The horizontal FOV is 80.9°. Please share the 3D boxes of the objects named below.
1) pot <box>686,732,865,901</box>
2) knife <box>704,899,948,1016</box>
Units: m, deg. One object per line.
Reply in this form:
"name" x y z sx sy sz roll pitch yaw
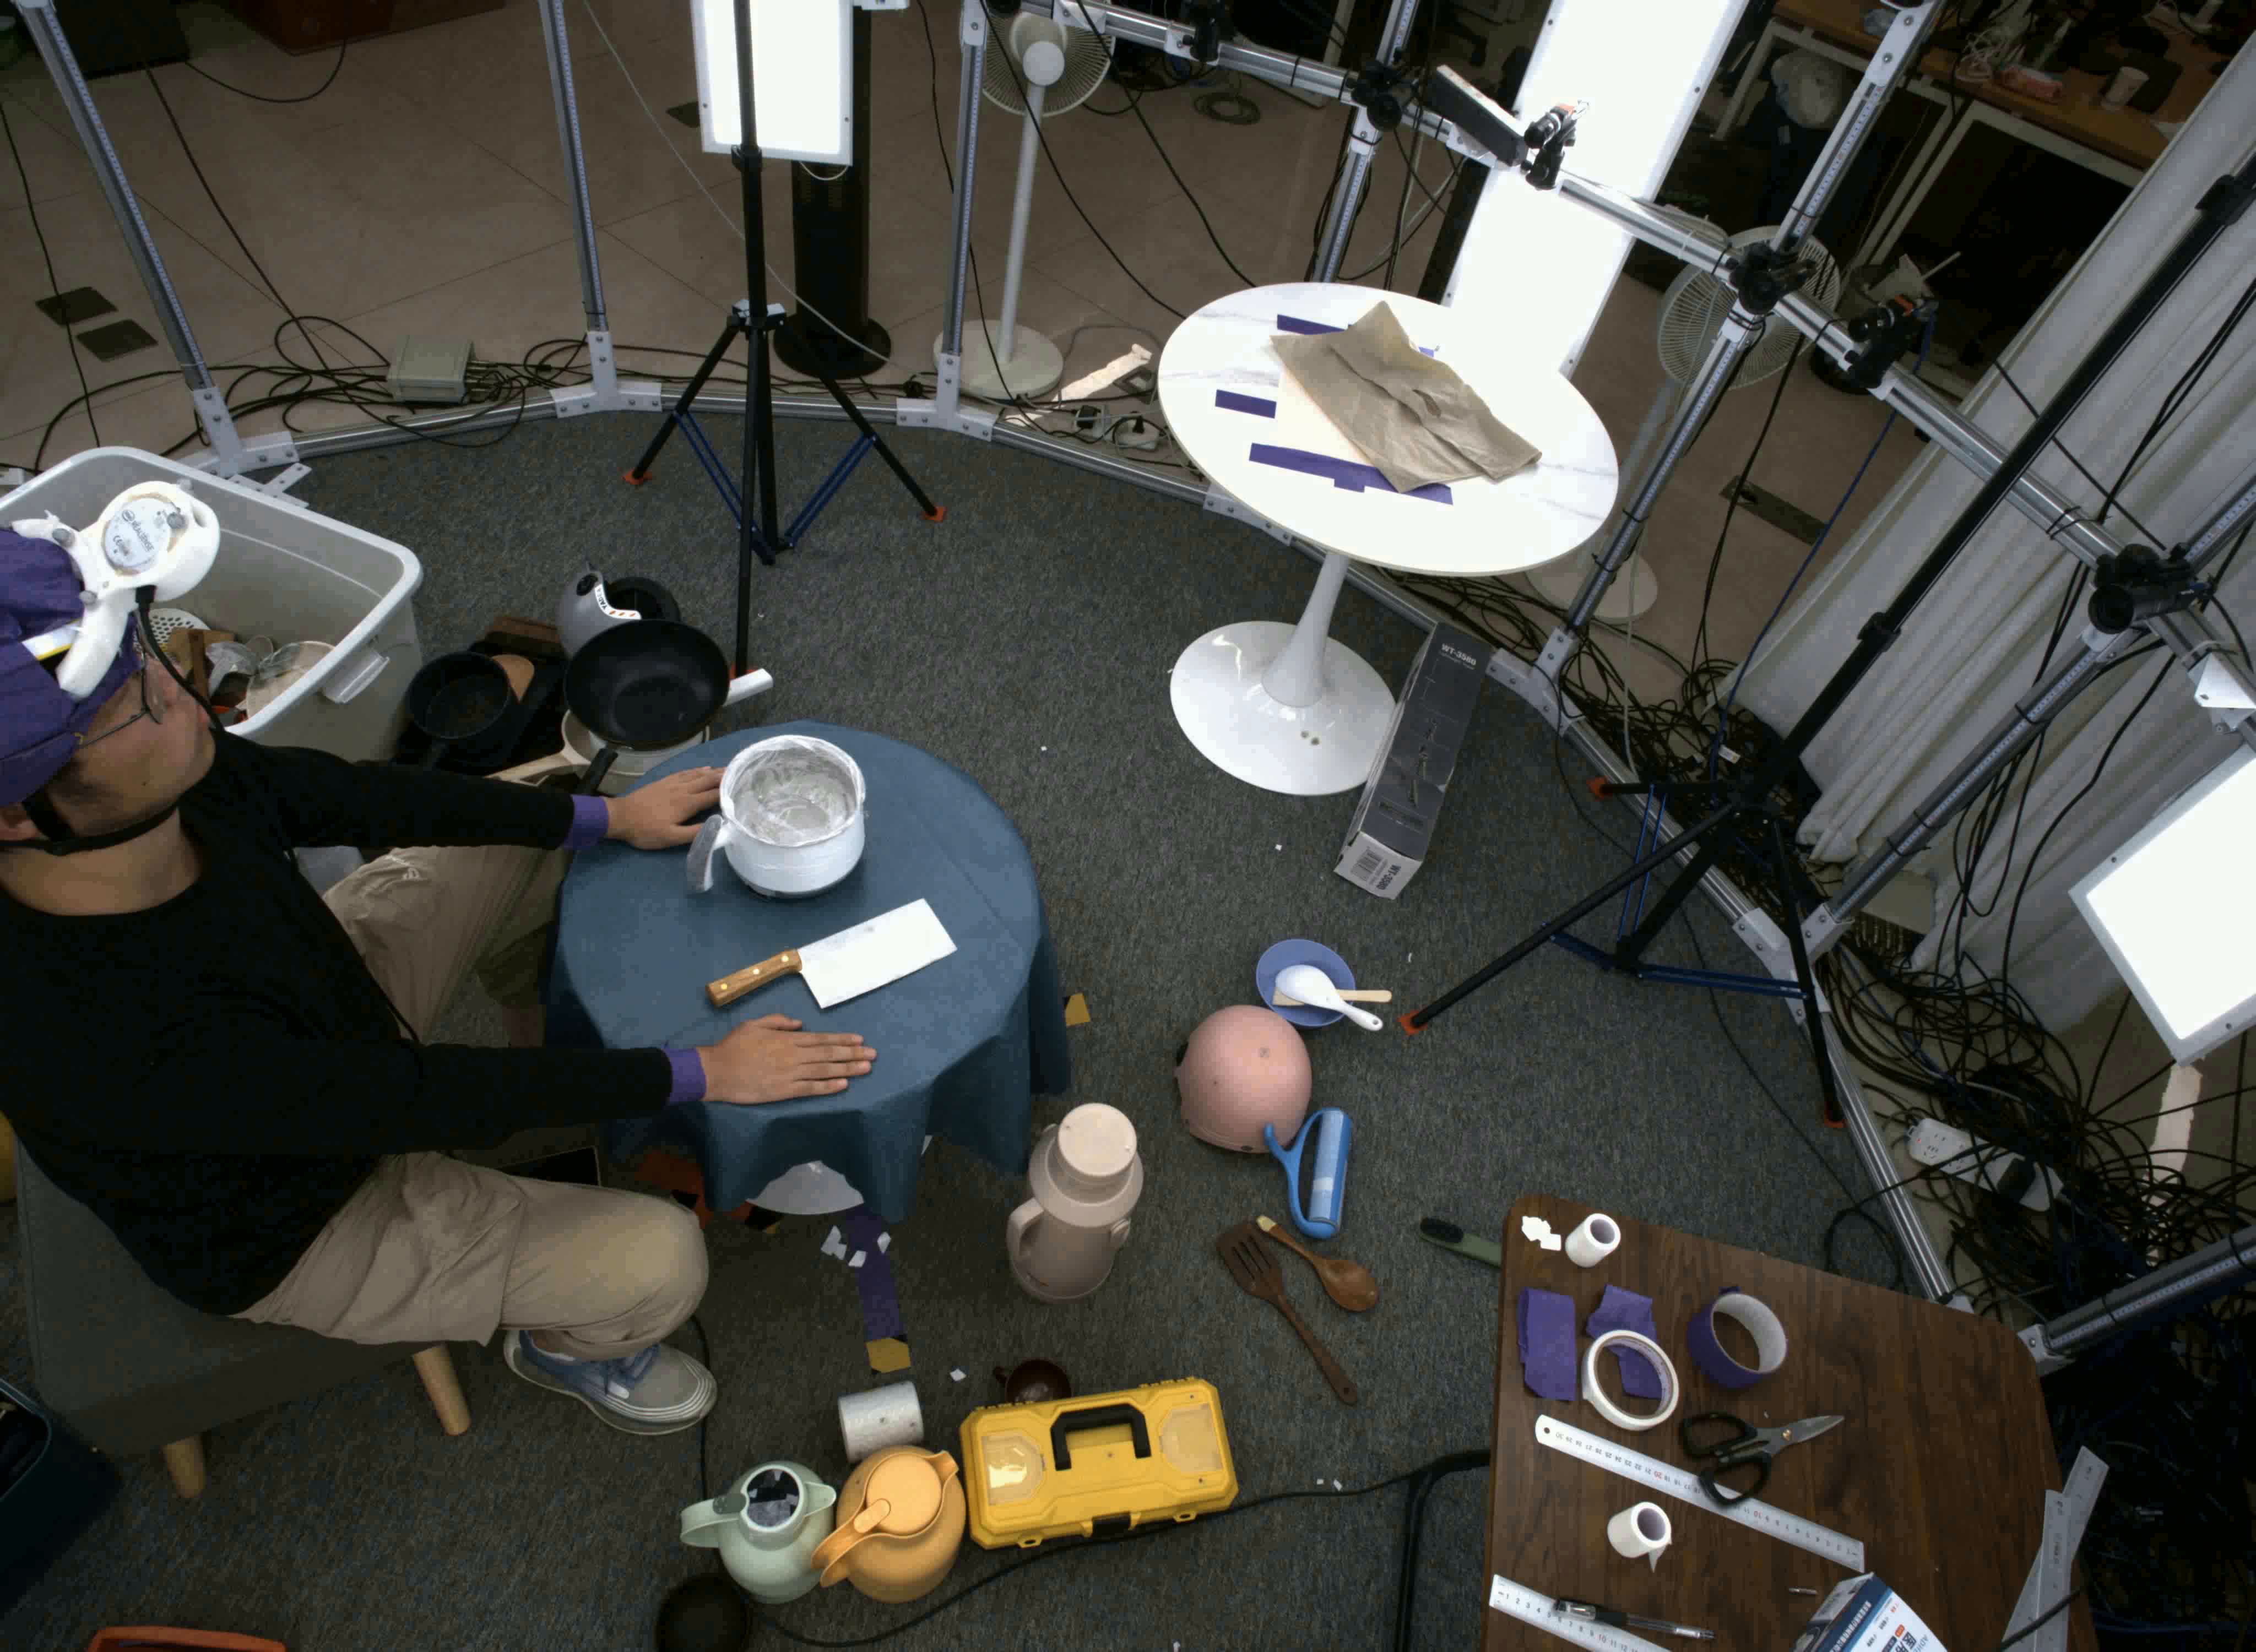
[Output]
"pot" -0.444 0.001 1.625 0.235 0.139 0.174 -27 62 -30
"knife" -0.363 0.174 1.599 0.307 0.021 0.090 -23 62 -30
